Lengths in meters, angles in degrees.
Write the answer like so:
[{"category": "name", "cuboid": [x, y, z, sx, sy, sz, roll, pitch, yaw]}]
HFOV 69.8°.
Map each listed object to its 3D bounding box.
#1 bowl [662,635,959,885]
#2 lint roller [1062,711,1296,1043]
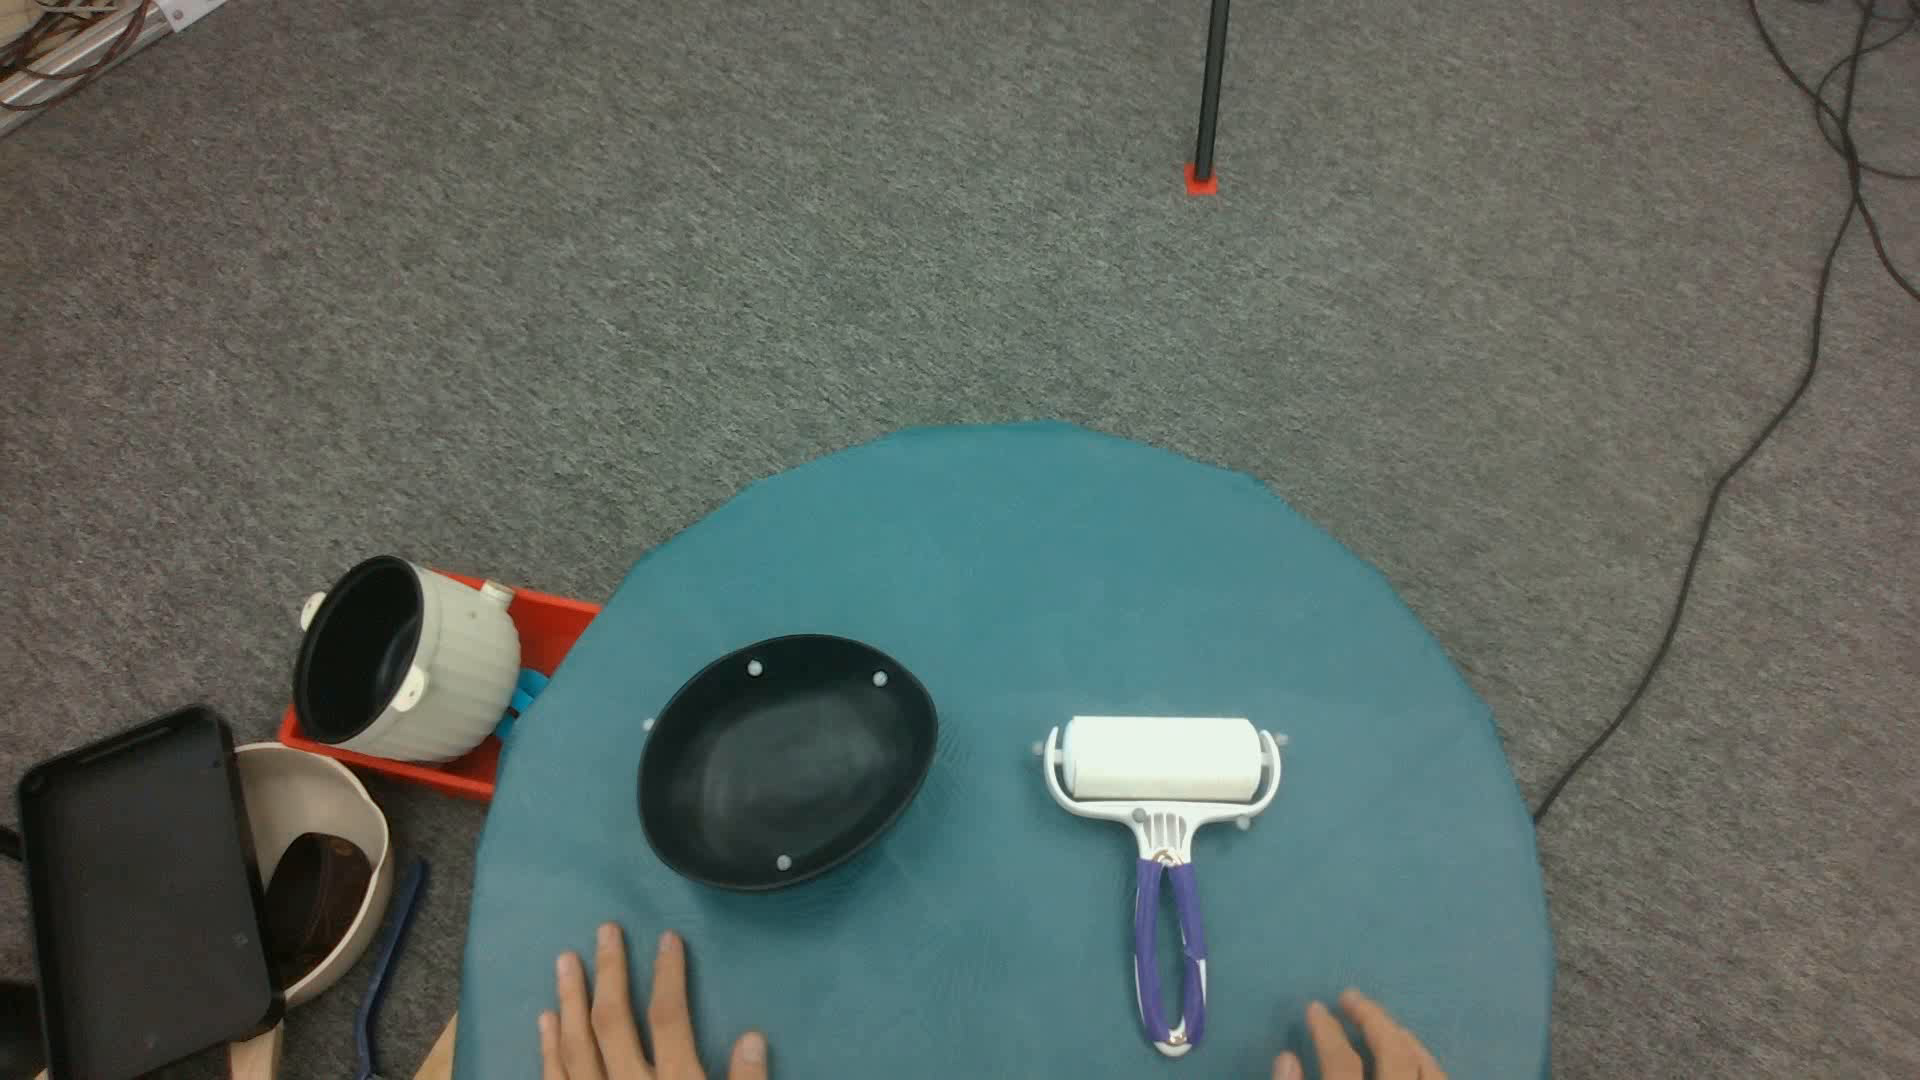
[{"category": "bowl", "cuboid": [-0.083, 0.128, 0.783, 0.170, 0.066, 0.137, -27, 66, -15]}, {"category": "lint roller", "cuboid": [0.122, 0.179, 0.760, 0.133, 0.050, 0.181, 2, 59, 2]}]
